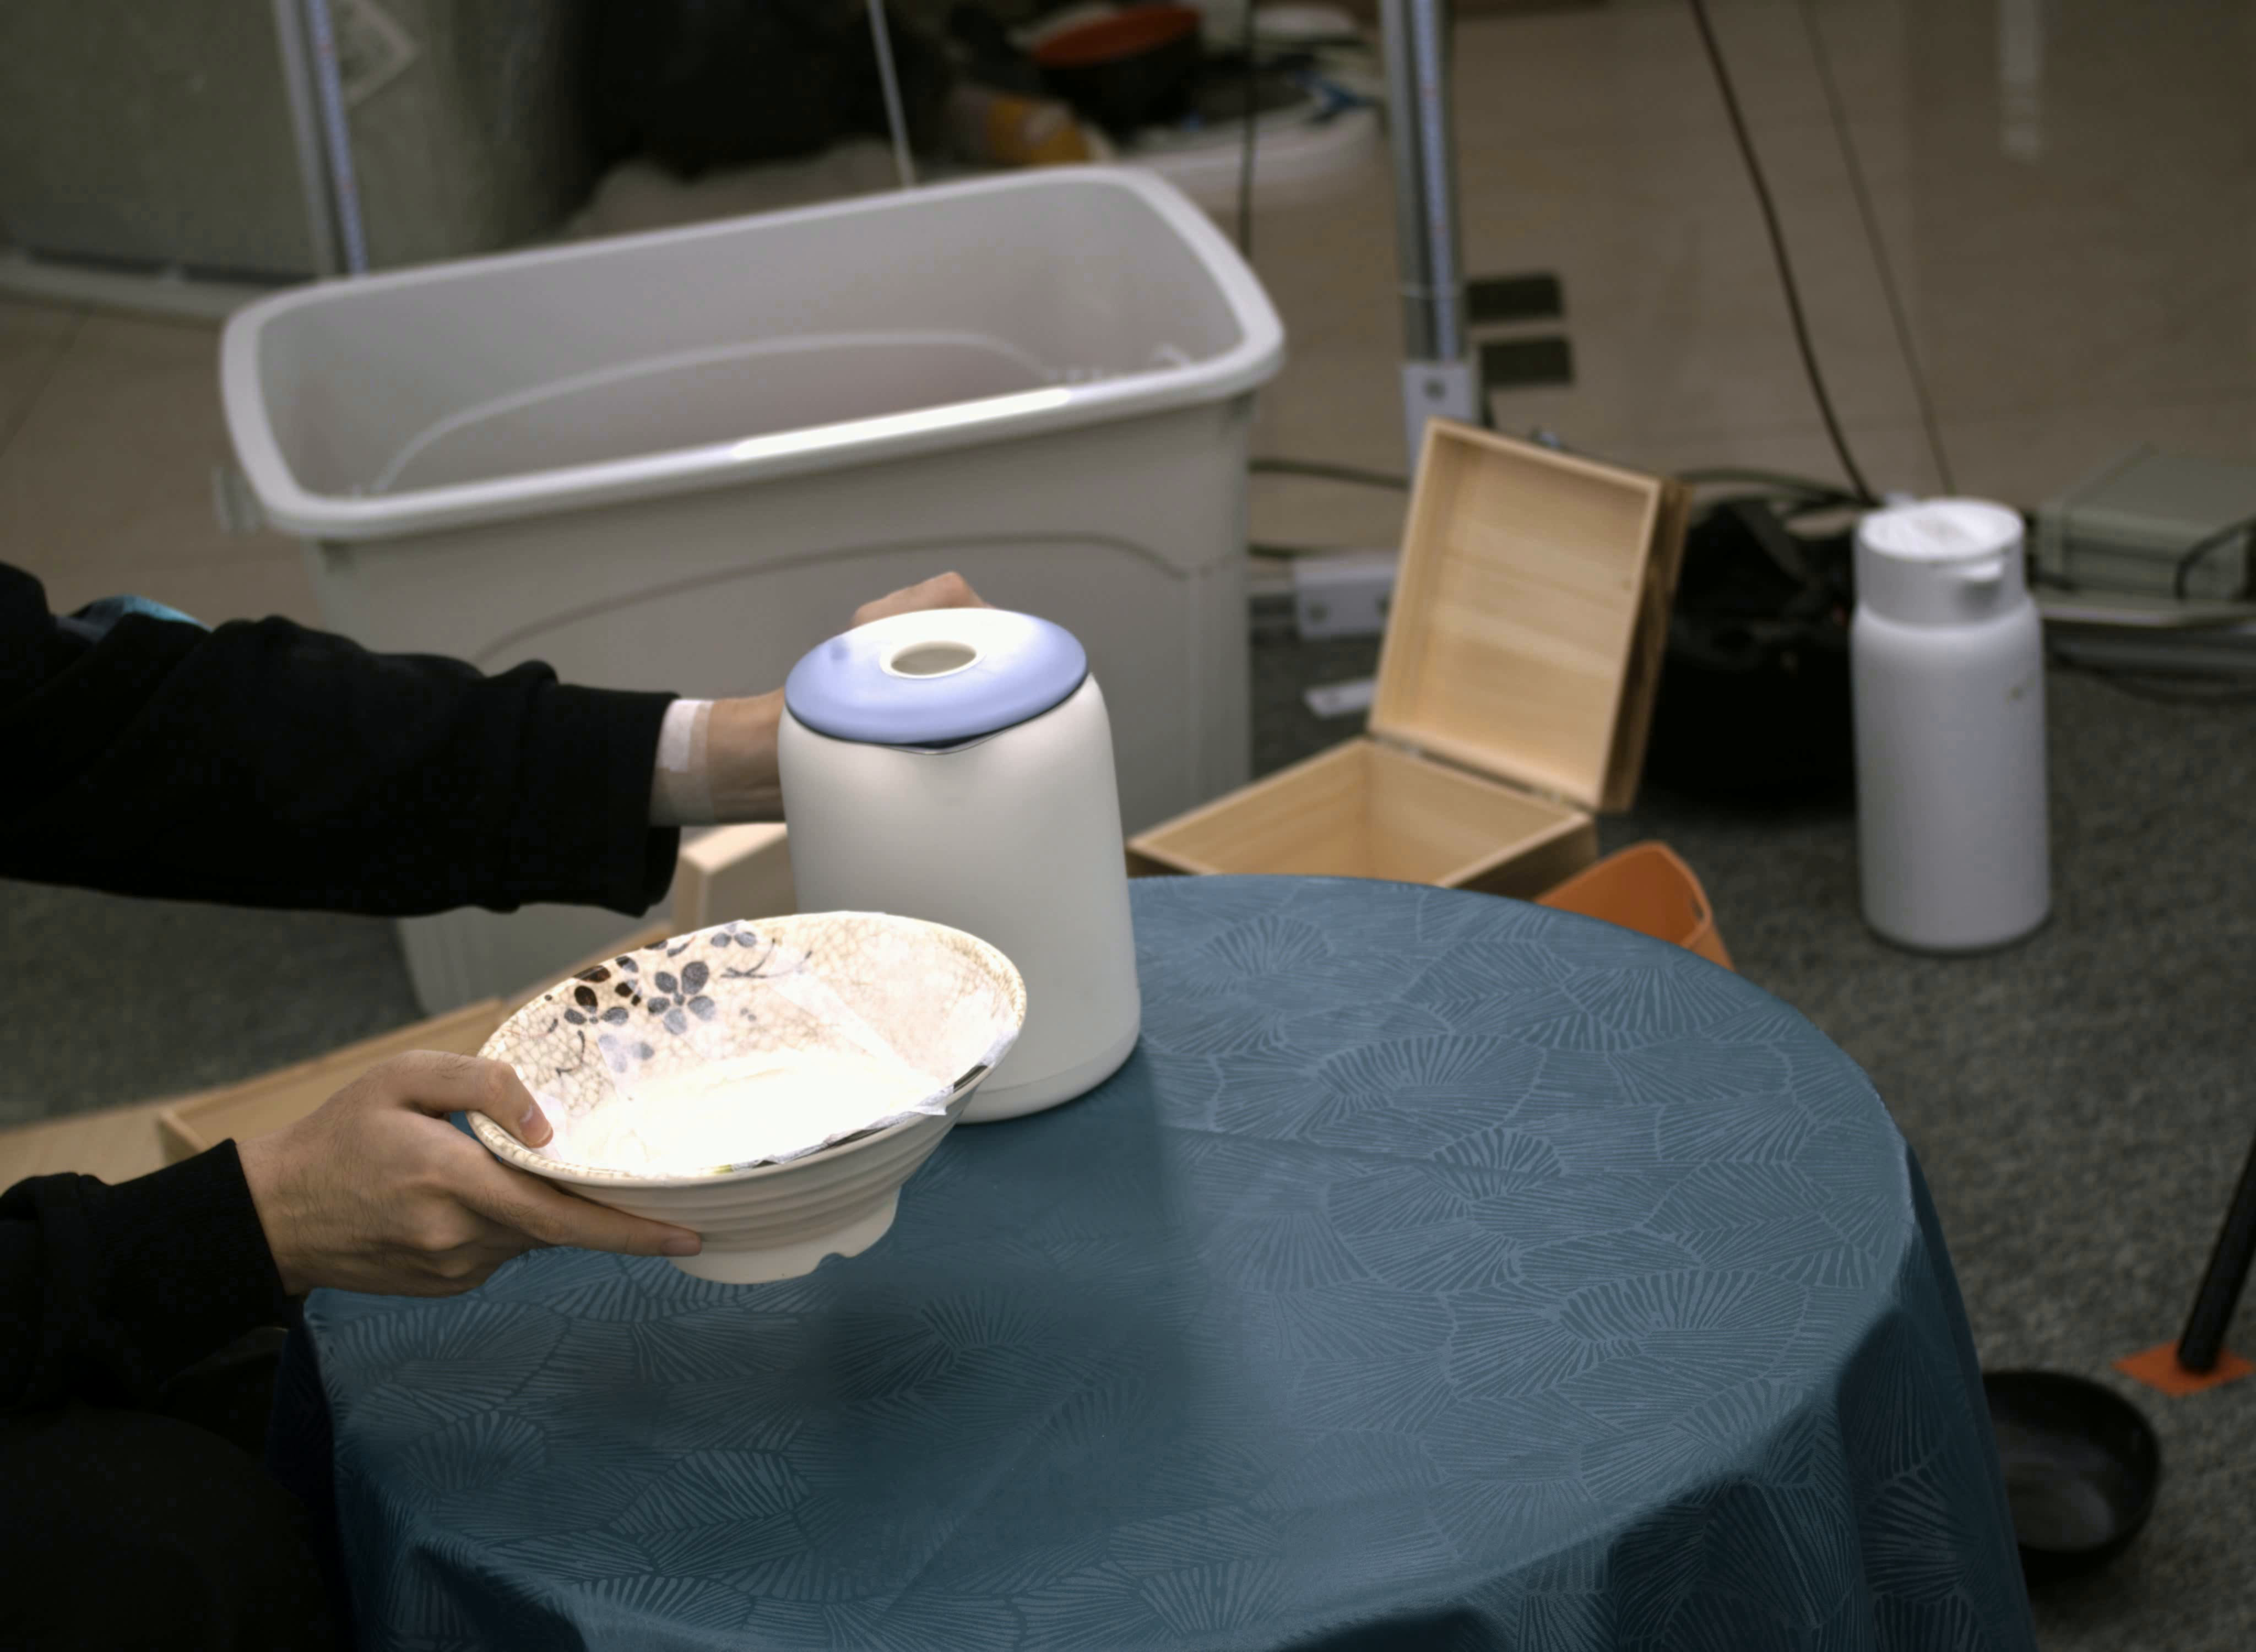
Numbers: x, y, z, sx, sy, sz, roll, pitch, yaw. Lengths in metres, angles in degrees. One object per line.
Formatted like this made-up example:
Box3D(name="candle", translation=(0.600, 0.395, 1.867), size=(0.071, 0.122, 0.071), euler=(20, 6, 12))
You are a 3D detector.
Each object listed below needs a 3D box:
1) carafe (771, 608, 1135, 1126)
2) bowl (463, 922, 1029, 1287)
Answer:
Box3D(name="carafe", translation=(-0.071, 0.006, 2.242), size=(0.132, 0.185, 0.188), euler=(-7, 23, -4))
Box3D(name="bowl", translation=(-0.130, 0.110, 2.017), size=(0.204, 0.079, 0.201), euler=(-8, 23, 4))
